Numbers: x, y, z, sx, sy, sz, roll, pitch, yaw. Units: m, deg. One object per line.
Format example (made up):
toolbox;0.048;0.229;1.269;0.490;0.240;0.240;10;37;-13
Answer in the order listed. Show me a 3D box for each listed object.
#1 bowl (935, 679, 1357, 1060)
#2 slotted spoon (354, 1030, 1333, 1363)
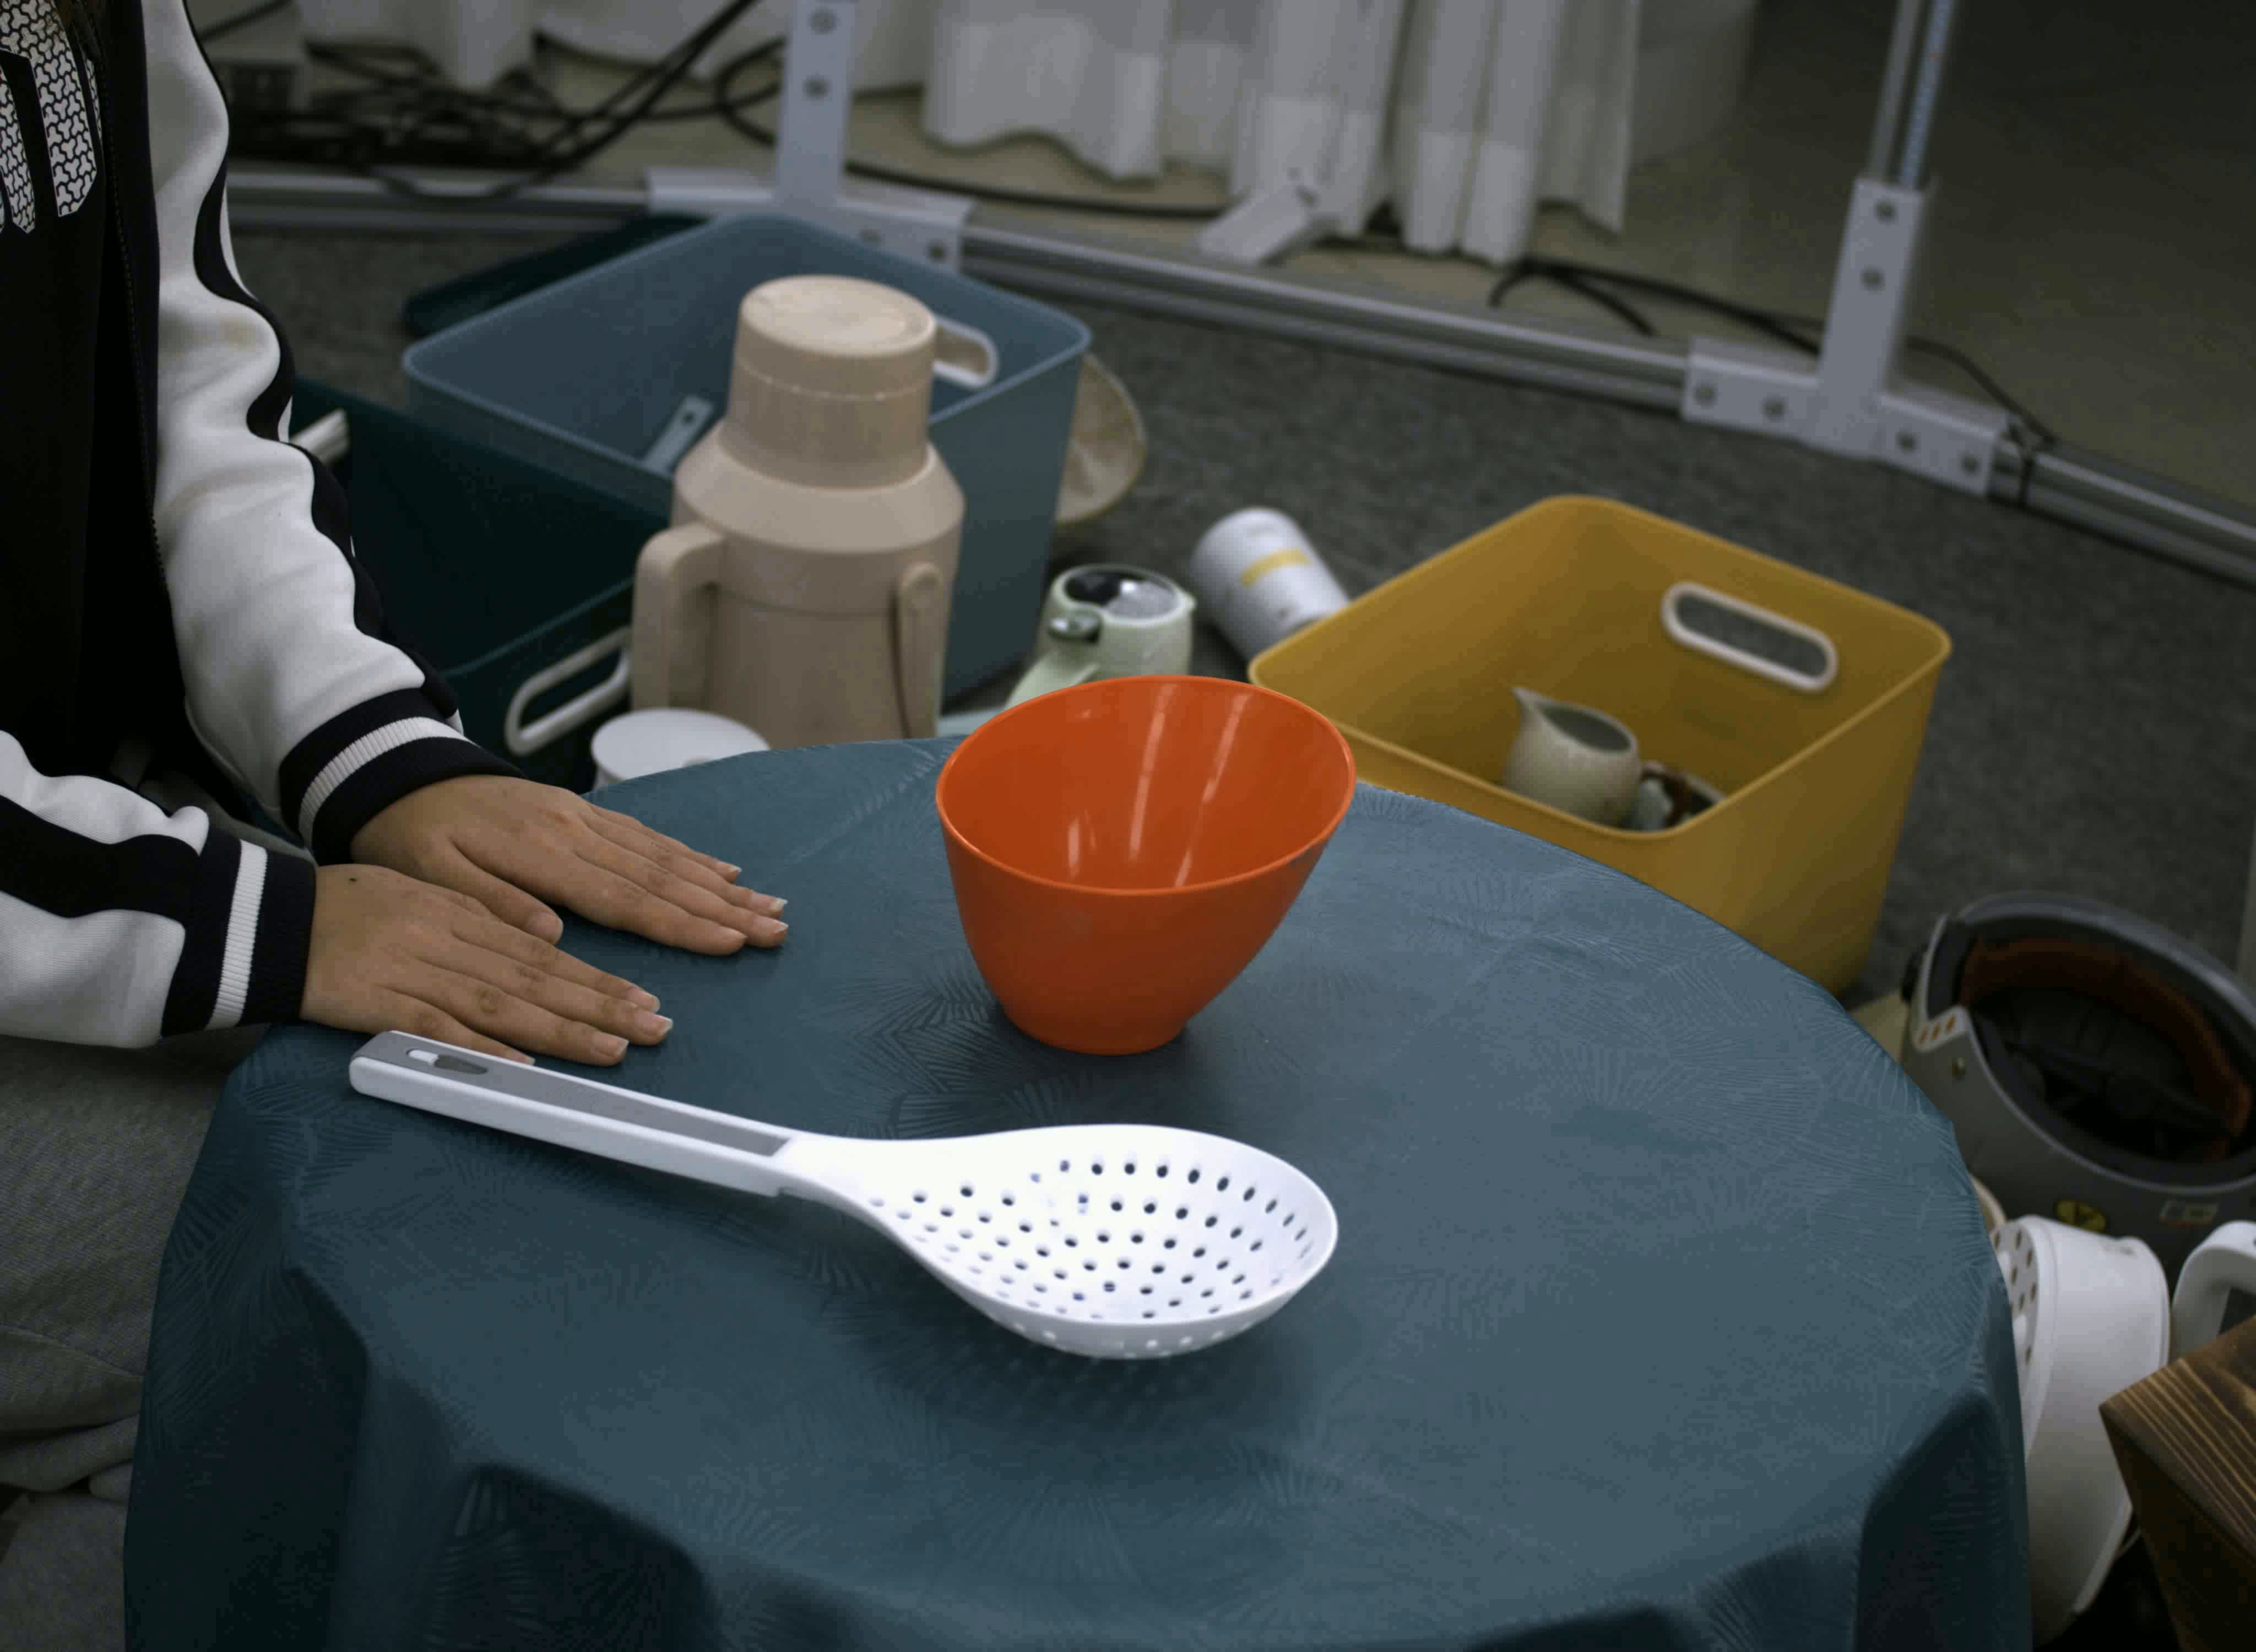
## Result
bowl;0.003;0.022;1.894;0.147;0.104;0.149;5;29;-3
slotted spoon;-0.100;0.114;1.750;0.351;0.045;0.136;16;27;20
